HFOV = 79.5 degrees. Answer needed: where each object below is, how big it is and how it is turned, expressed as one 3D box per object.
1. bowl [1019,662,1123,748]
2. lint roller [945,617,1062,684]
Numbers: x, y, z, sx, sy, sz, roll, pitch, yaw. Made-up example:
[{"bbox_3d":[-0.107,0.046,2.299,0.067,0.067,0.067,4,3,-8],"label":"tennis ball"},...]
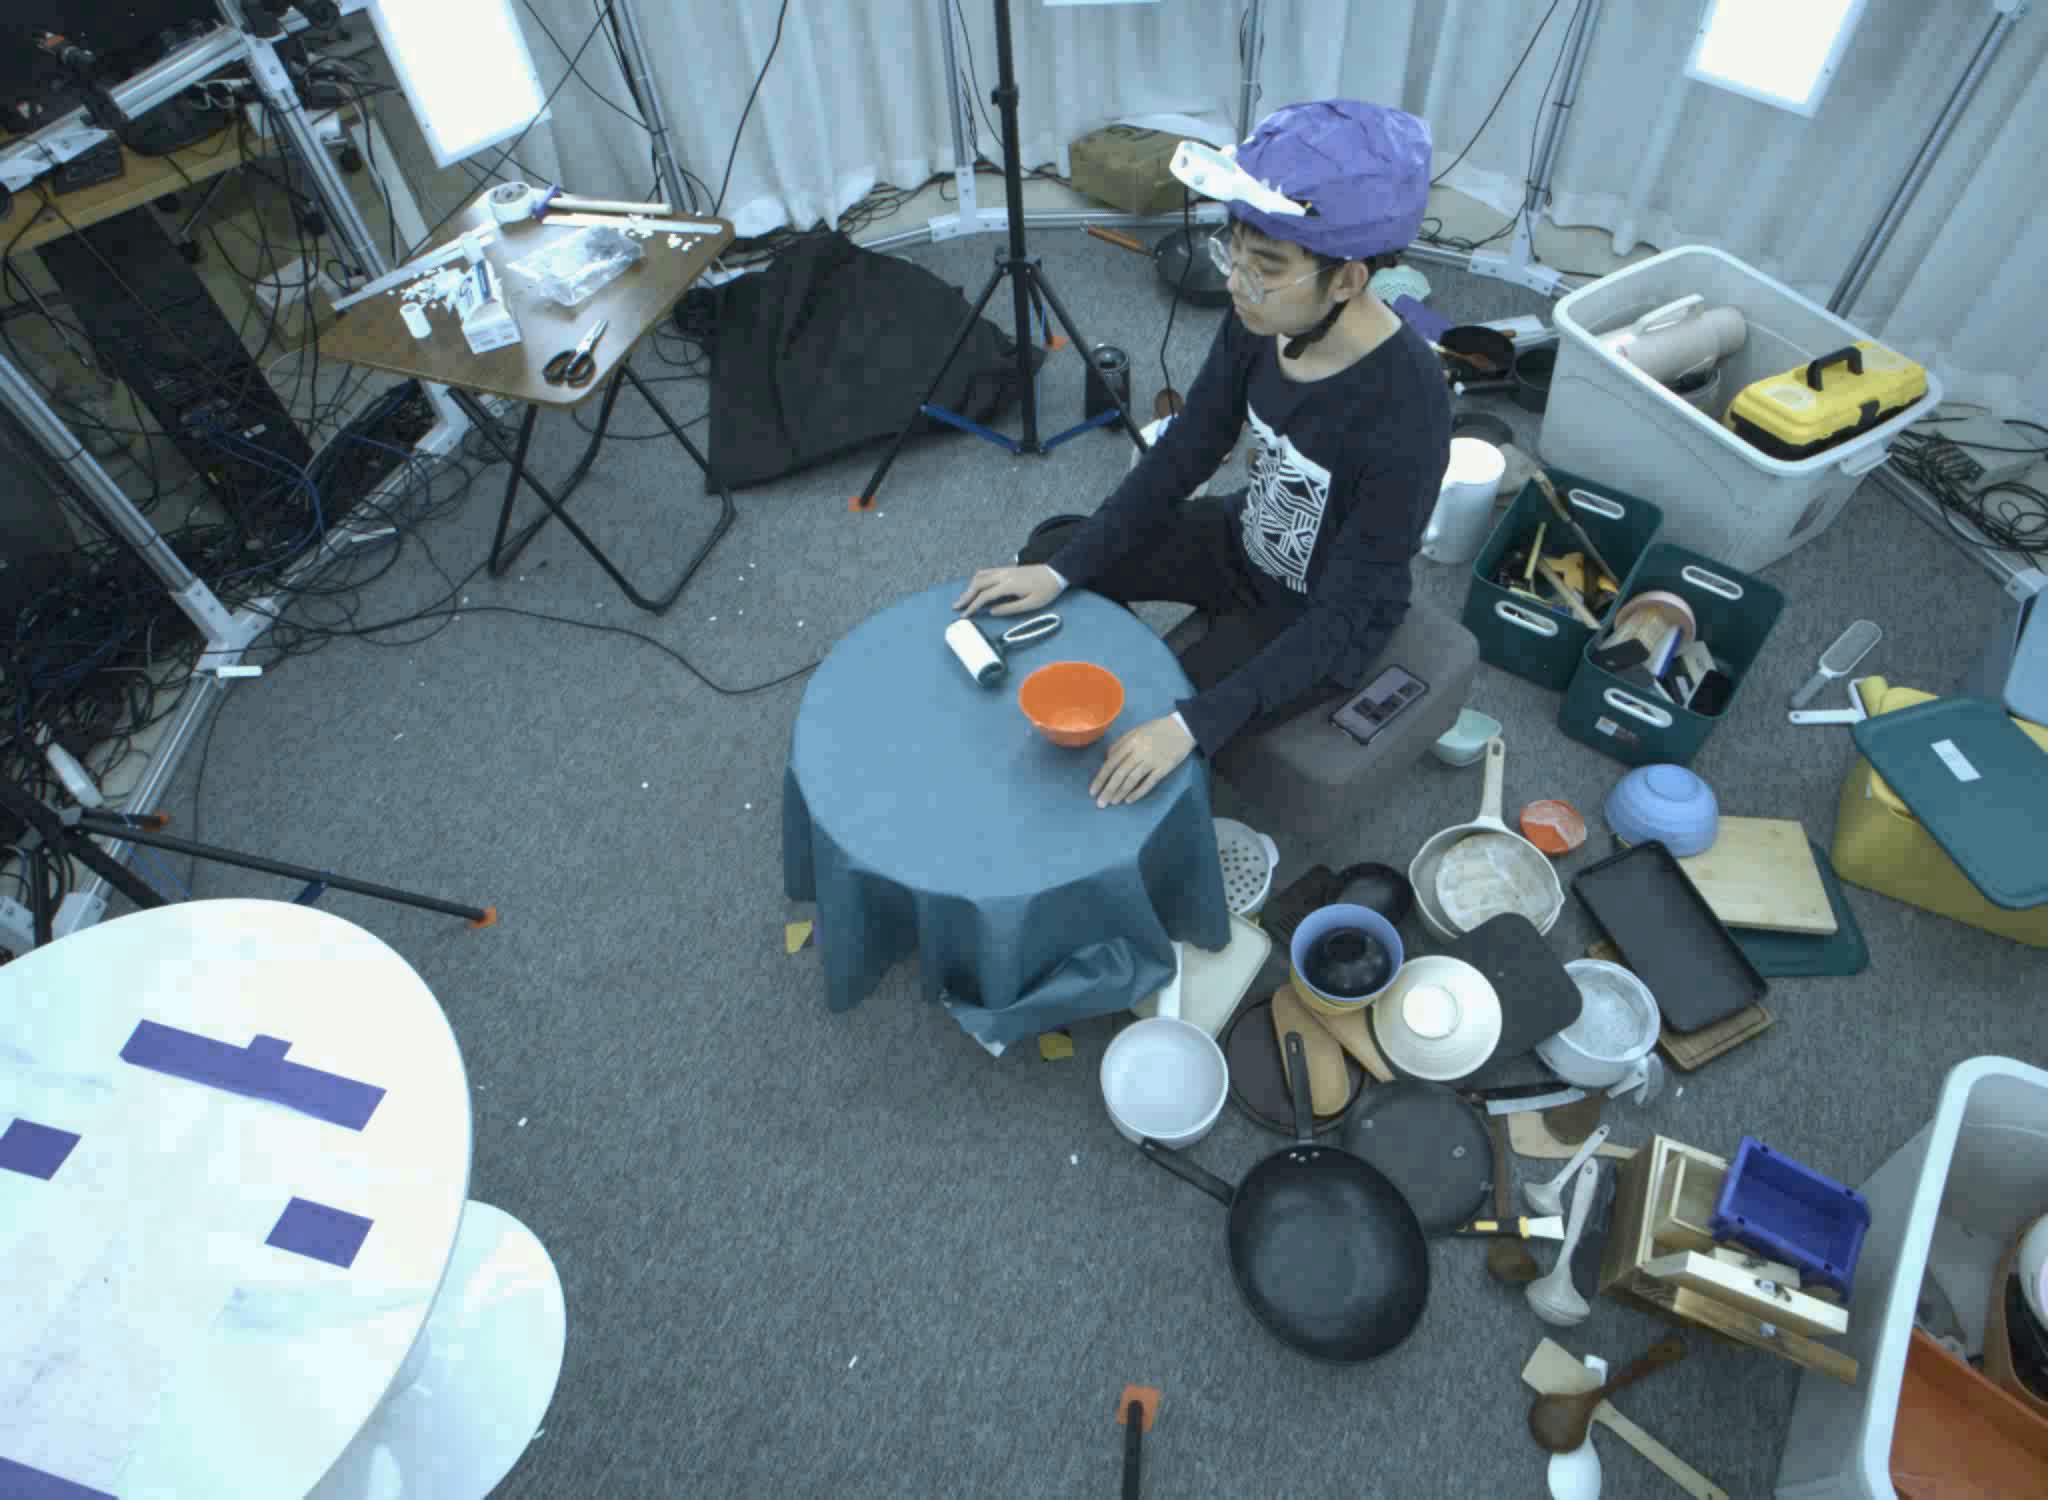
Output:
[{"bbox_3d":[0.067,-0.052,1.770,0.148,0.105,0.146,1,53,0],"label":"bowl"},{"bbox_3d":[-0.019,-0.177,1.898,0.182,0.049,0.132,-26,58,-20],"label":"lint roller"}]
